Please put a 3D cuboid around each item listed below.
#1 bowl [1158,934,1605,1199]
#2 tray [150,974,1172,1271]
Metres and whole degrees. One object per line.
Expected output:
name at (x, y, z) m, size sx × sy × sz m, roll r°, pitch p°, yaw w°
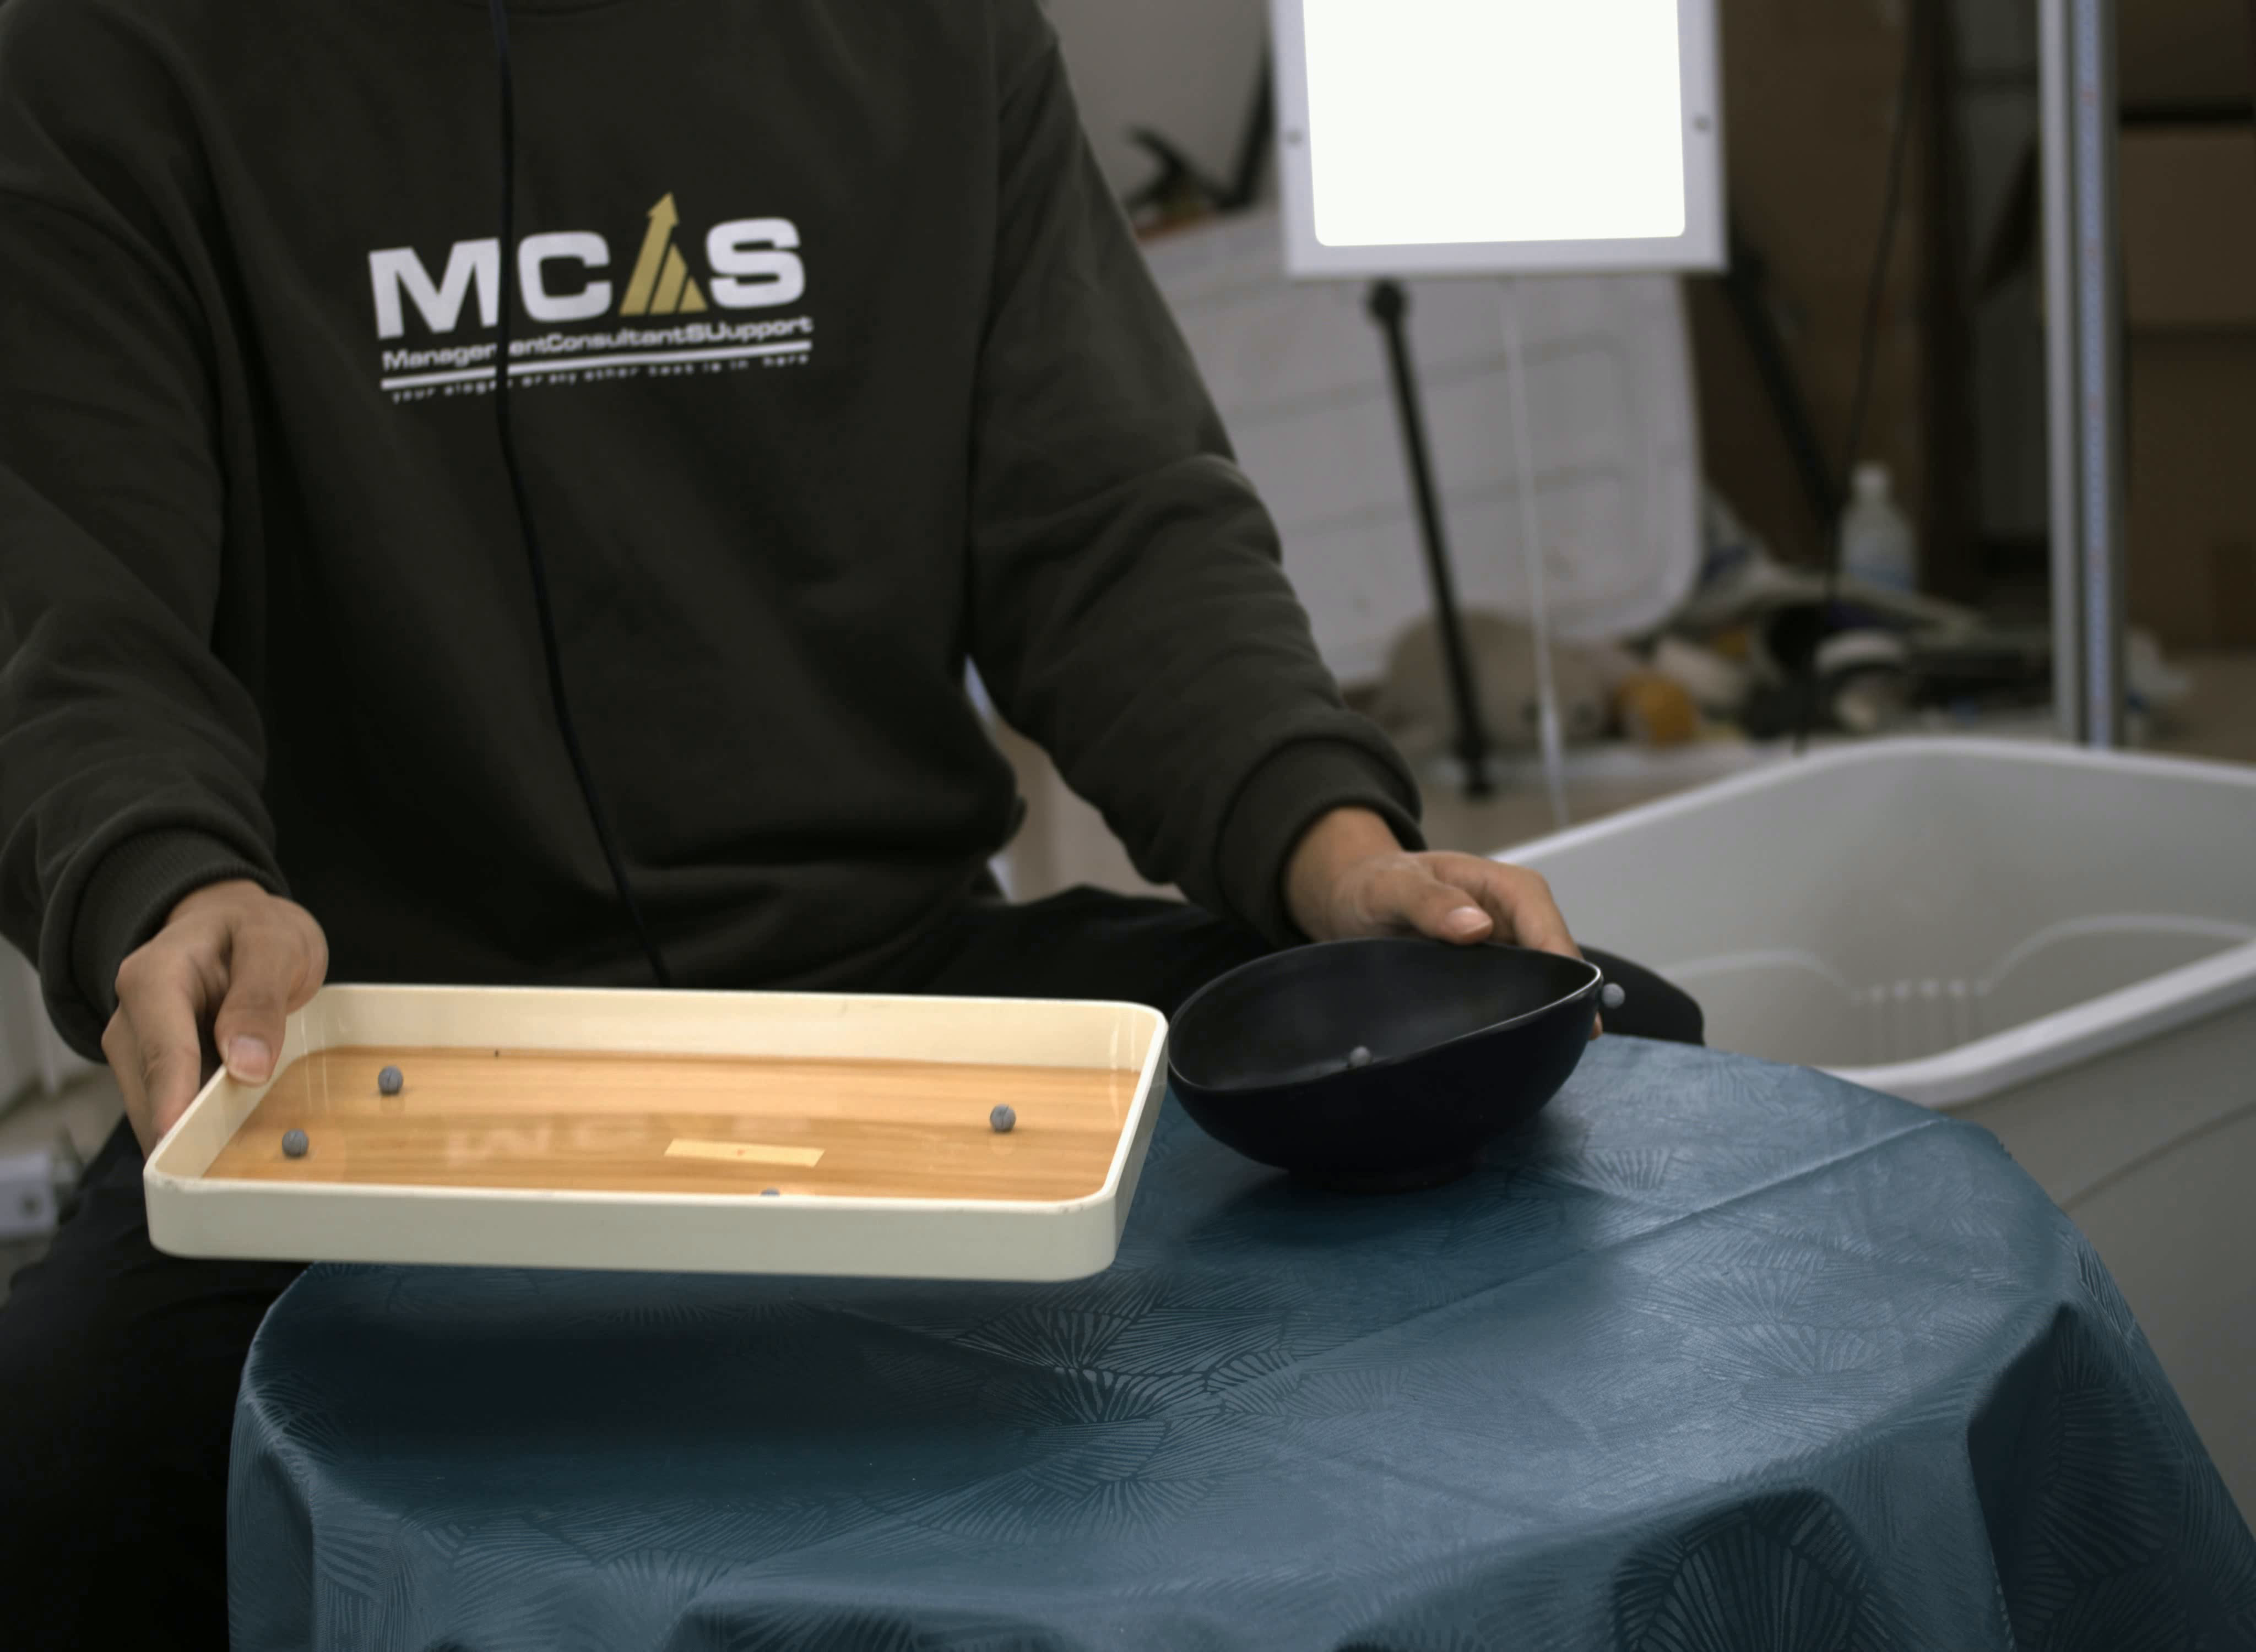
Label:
bowl at (0.091, 0.088, 1.898) m, size 0.166 × 0.067 × 0.140 m, roll -18°, pitch 17°, yaw -38°
tray at (-0.142, 0.092, 1.747) m, size 0.301 × 0.027 × 0.190 m, roll 1°, pitch 17°, yaw 8°
